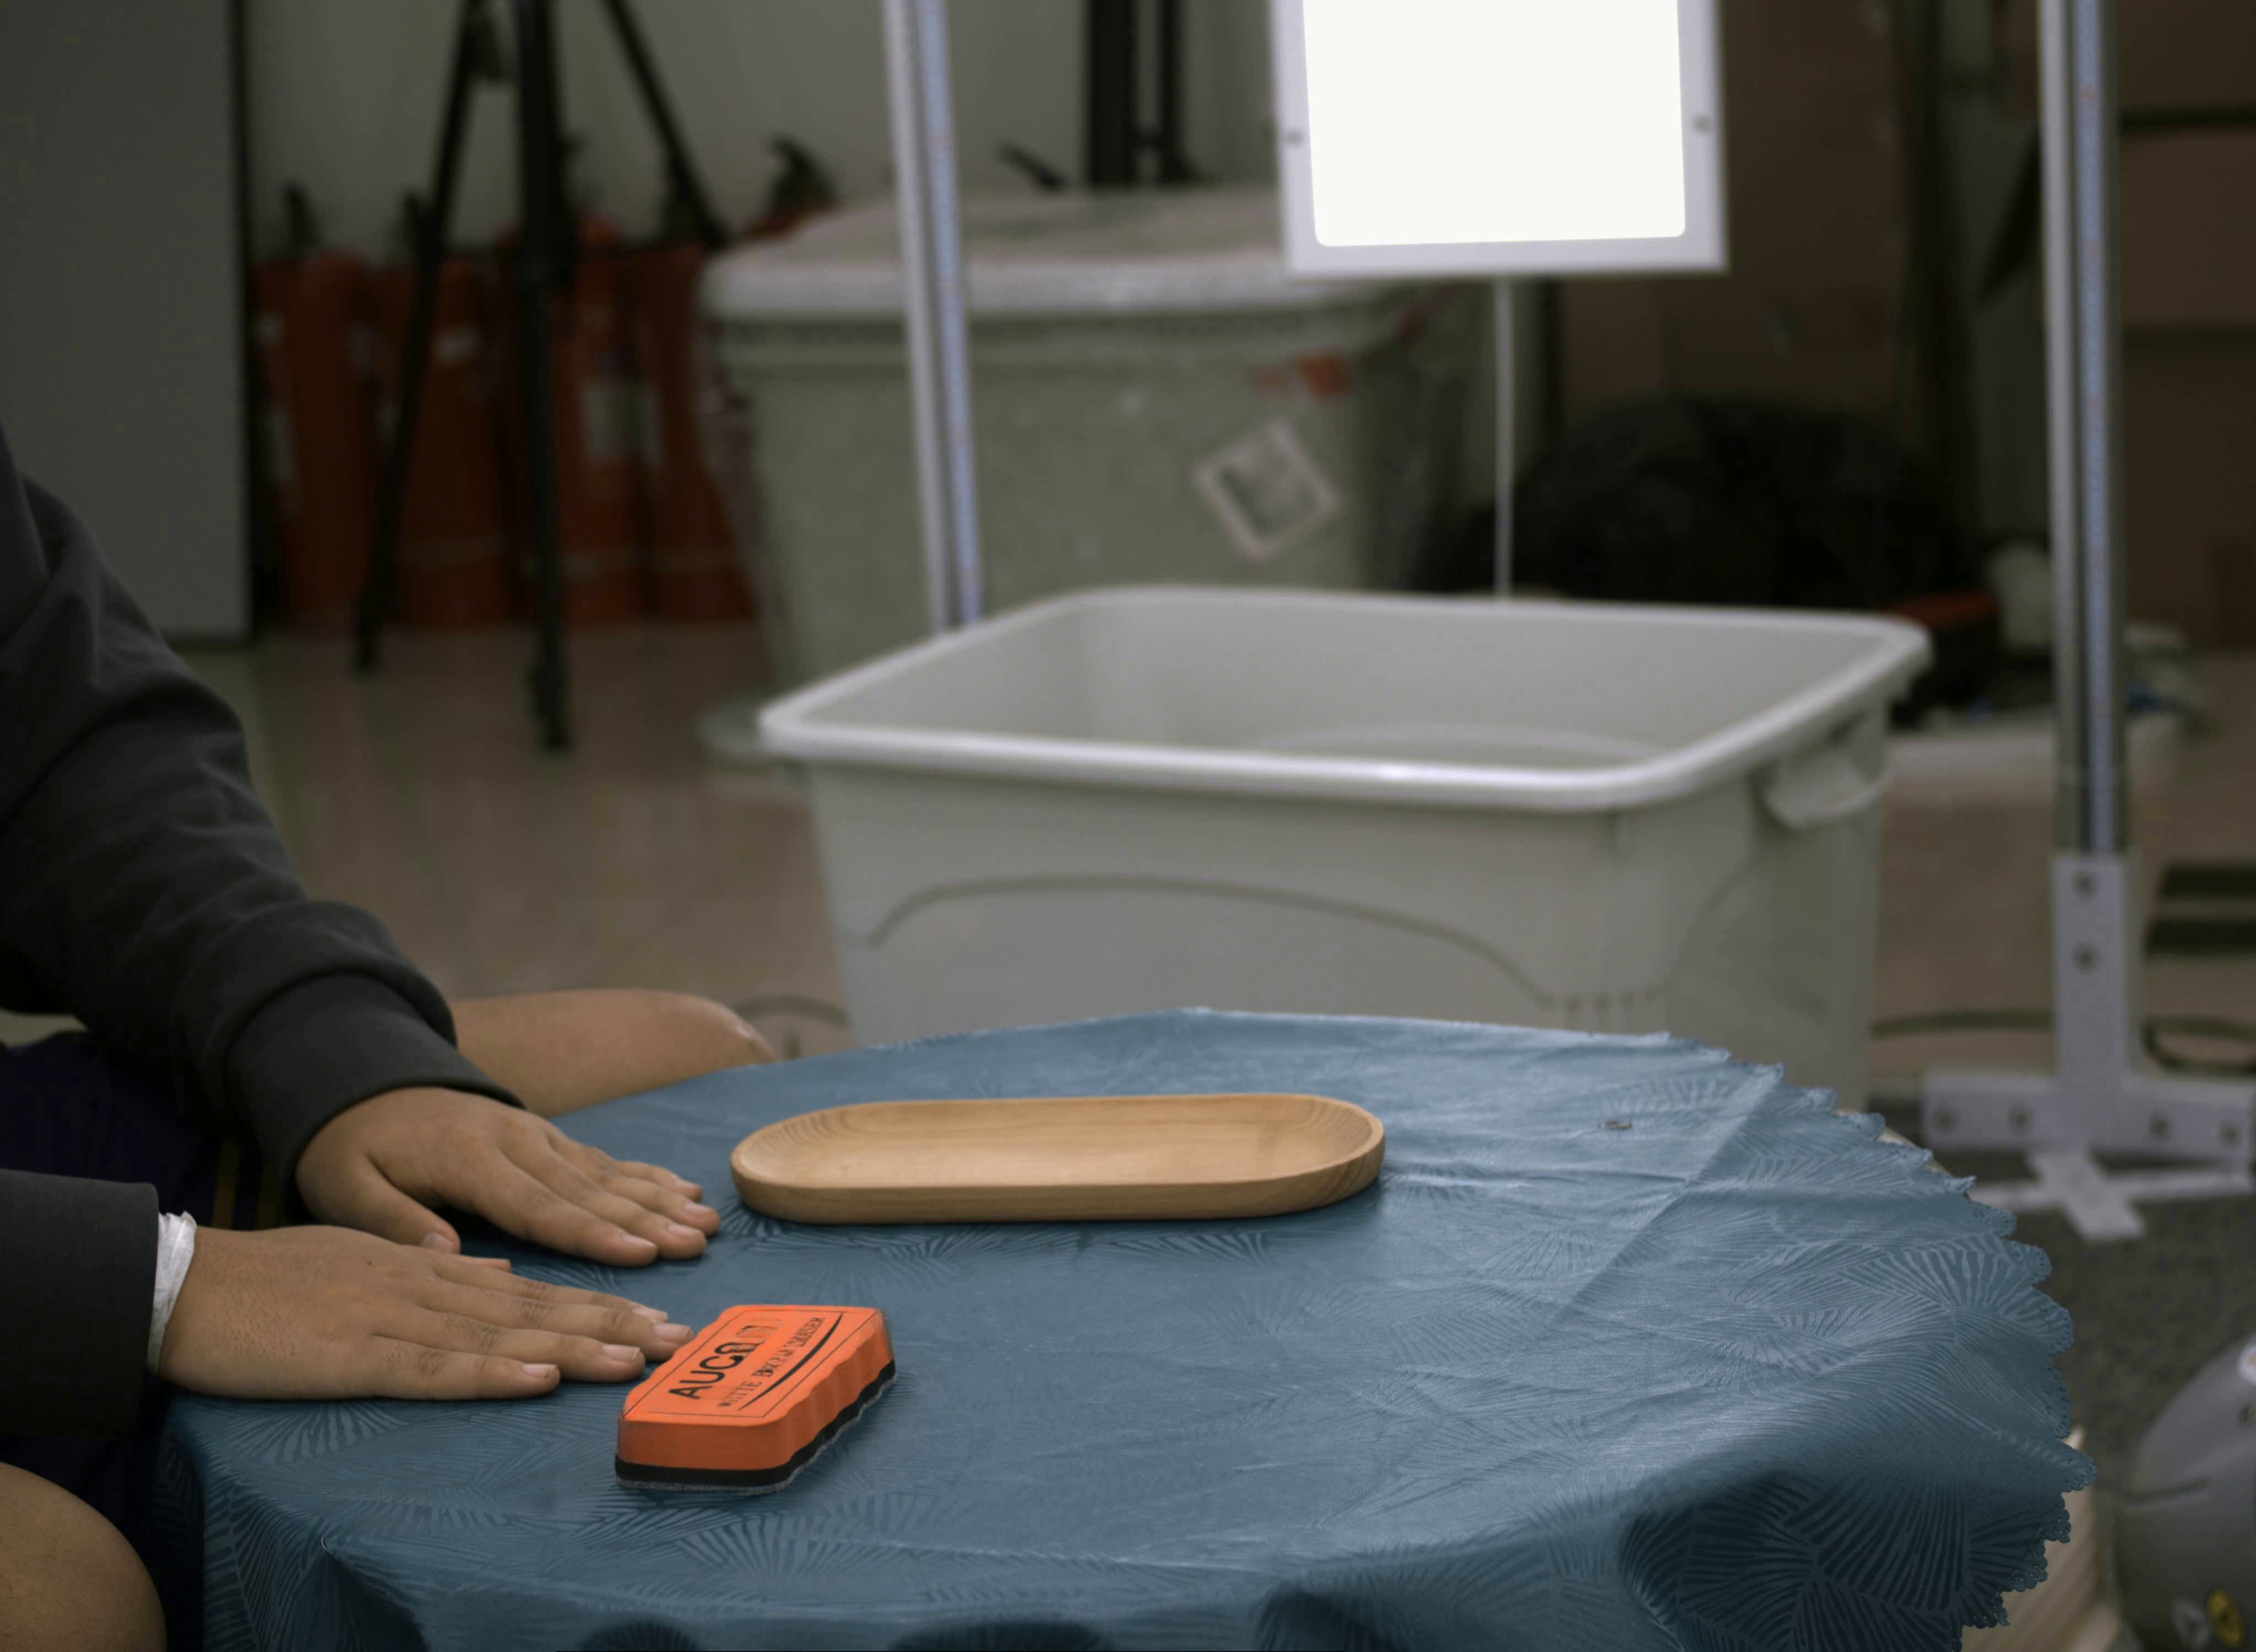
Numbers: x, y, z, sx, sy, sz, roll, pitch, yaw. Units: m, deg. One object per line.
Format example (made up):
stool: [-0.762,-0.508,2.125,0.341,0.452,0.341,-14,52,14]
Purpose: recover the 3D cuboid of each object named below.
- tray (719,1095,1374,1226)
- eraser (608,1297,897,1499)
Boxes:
tray: [-0.028,0.117,1.913,0.233,0.020,0.100,-3,13,13]
eraser: [-0.114,0.175,1.693,0.059,0.023,0.106,8,17,19]
